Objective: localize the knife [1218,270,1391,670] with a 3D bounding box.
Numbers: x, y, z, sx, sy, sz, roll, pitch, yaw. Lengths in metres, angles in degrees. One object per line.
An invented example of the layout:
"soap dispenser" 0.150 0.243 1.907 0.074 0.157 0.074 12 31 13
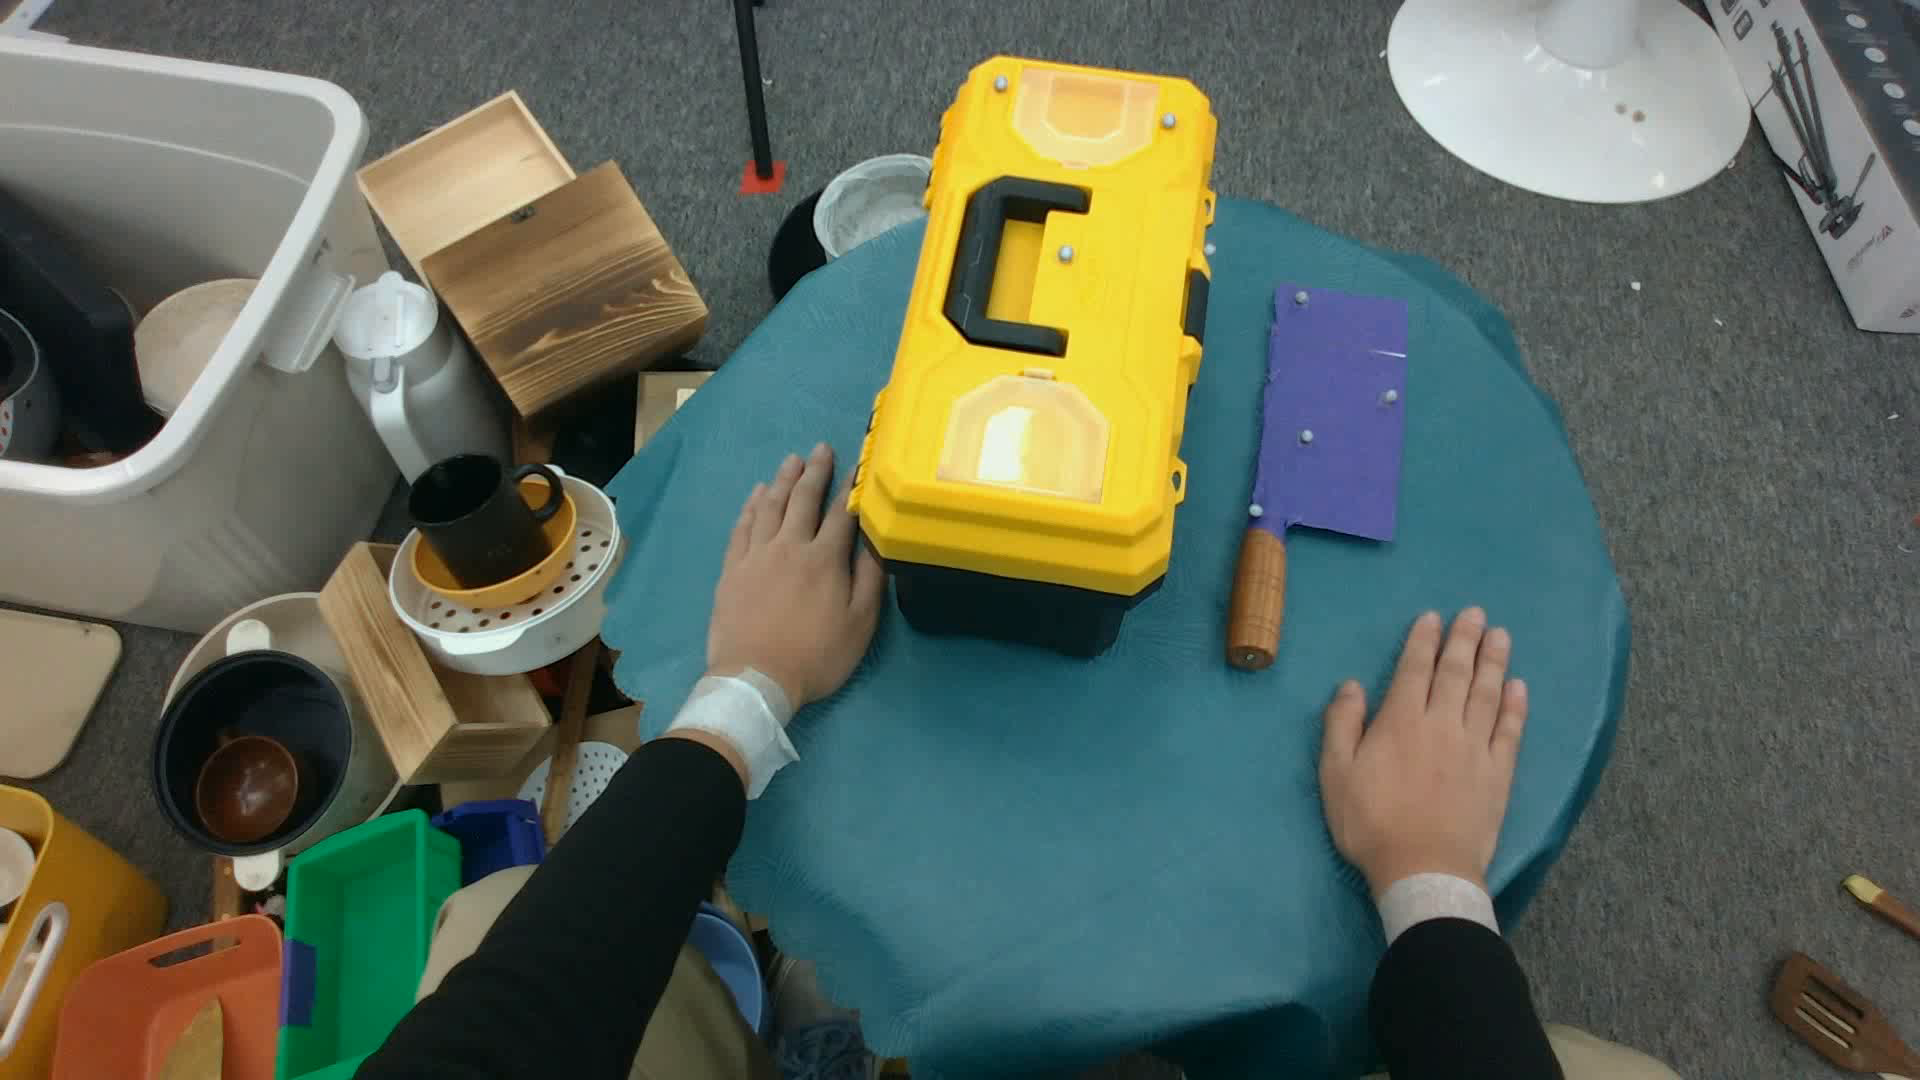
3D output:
"knife" 0.225 -0.055 0.892 0.104 0.032 0.316 10 59 4

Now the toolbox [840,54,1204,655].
"toolbox" 0.043 -0.113 0.836 0.181 0.172 0.353 9 60 4
